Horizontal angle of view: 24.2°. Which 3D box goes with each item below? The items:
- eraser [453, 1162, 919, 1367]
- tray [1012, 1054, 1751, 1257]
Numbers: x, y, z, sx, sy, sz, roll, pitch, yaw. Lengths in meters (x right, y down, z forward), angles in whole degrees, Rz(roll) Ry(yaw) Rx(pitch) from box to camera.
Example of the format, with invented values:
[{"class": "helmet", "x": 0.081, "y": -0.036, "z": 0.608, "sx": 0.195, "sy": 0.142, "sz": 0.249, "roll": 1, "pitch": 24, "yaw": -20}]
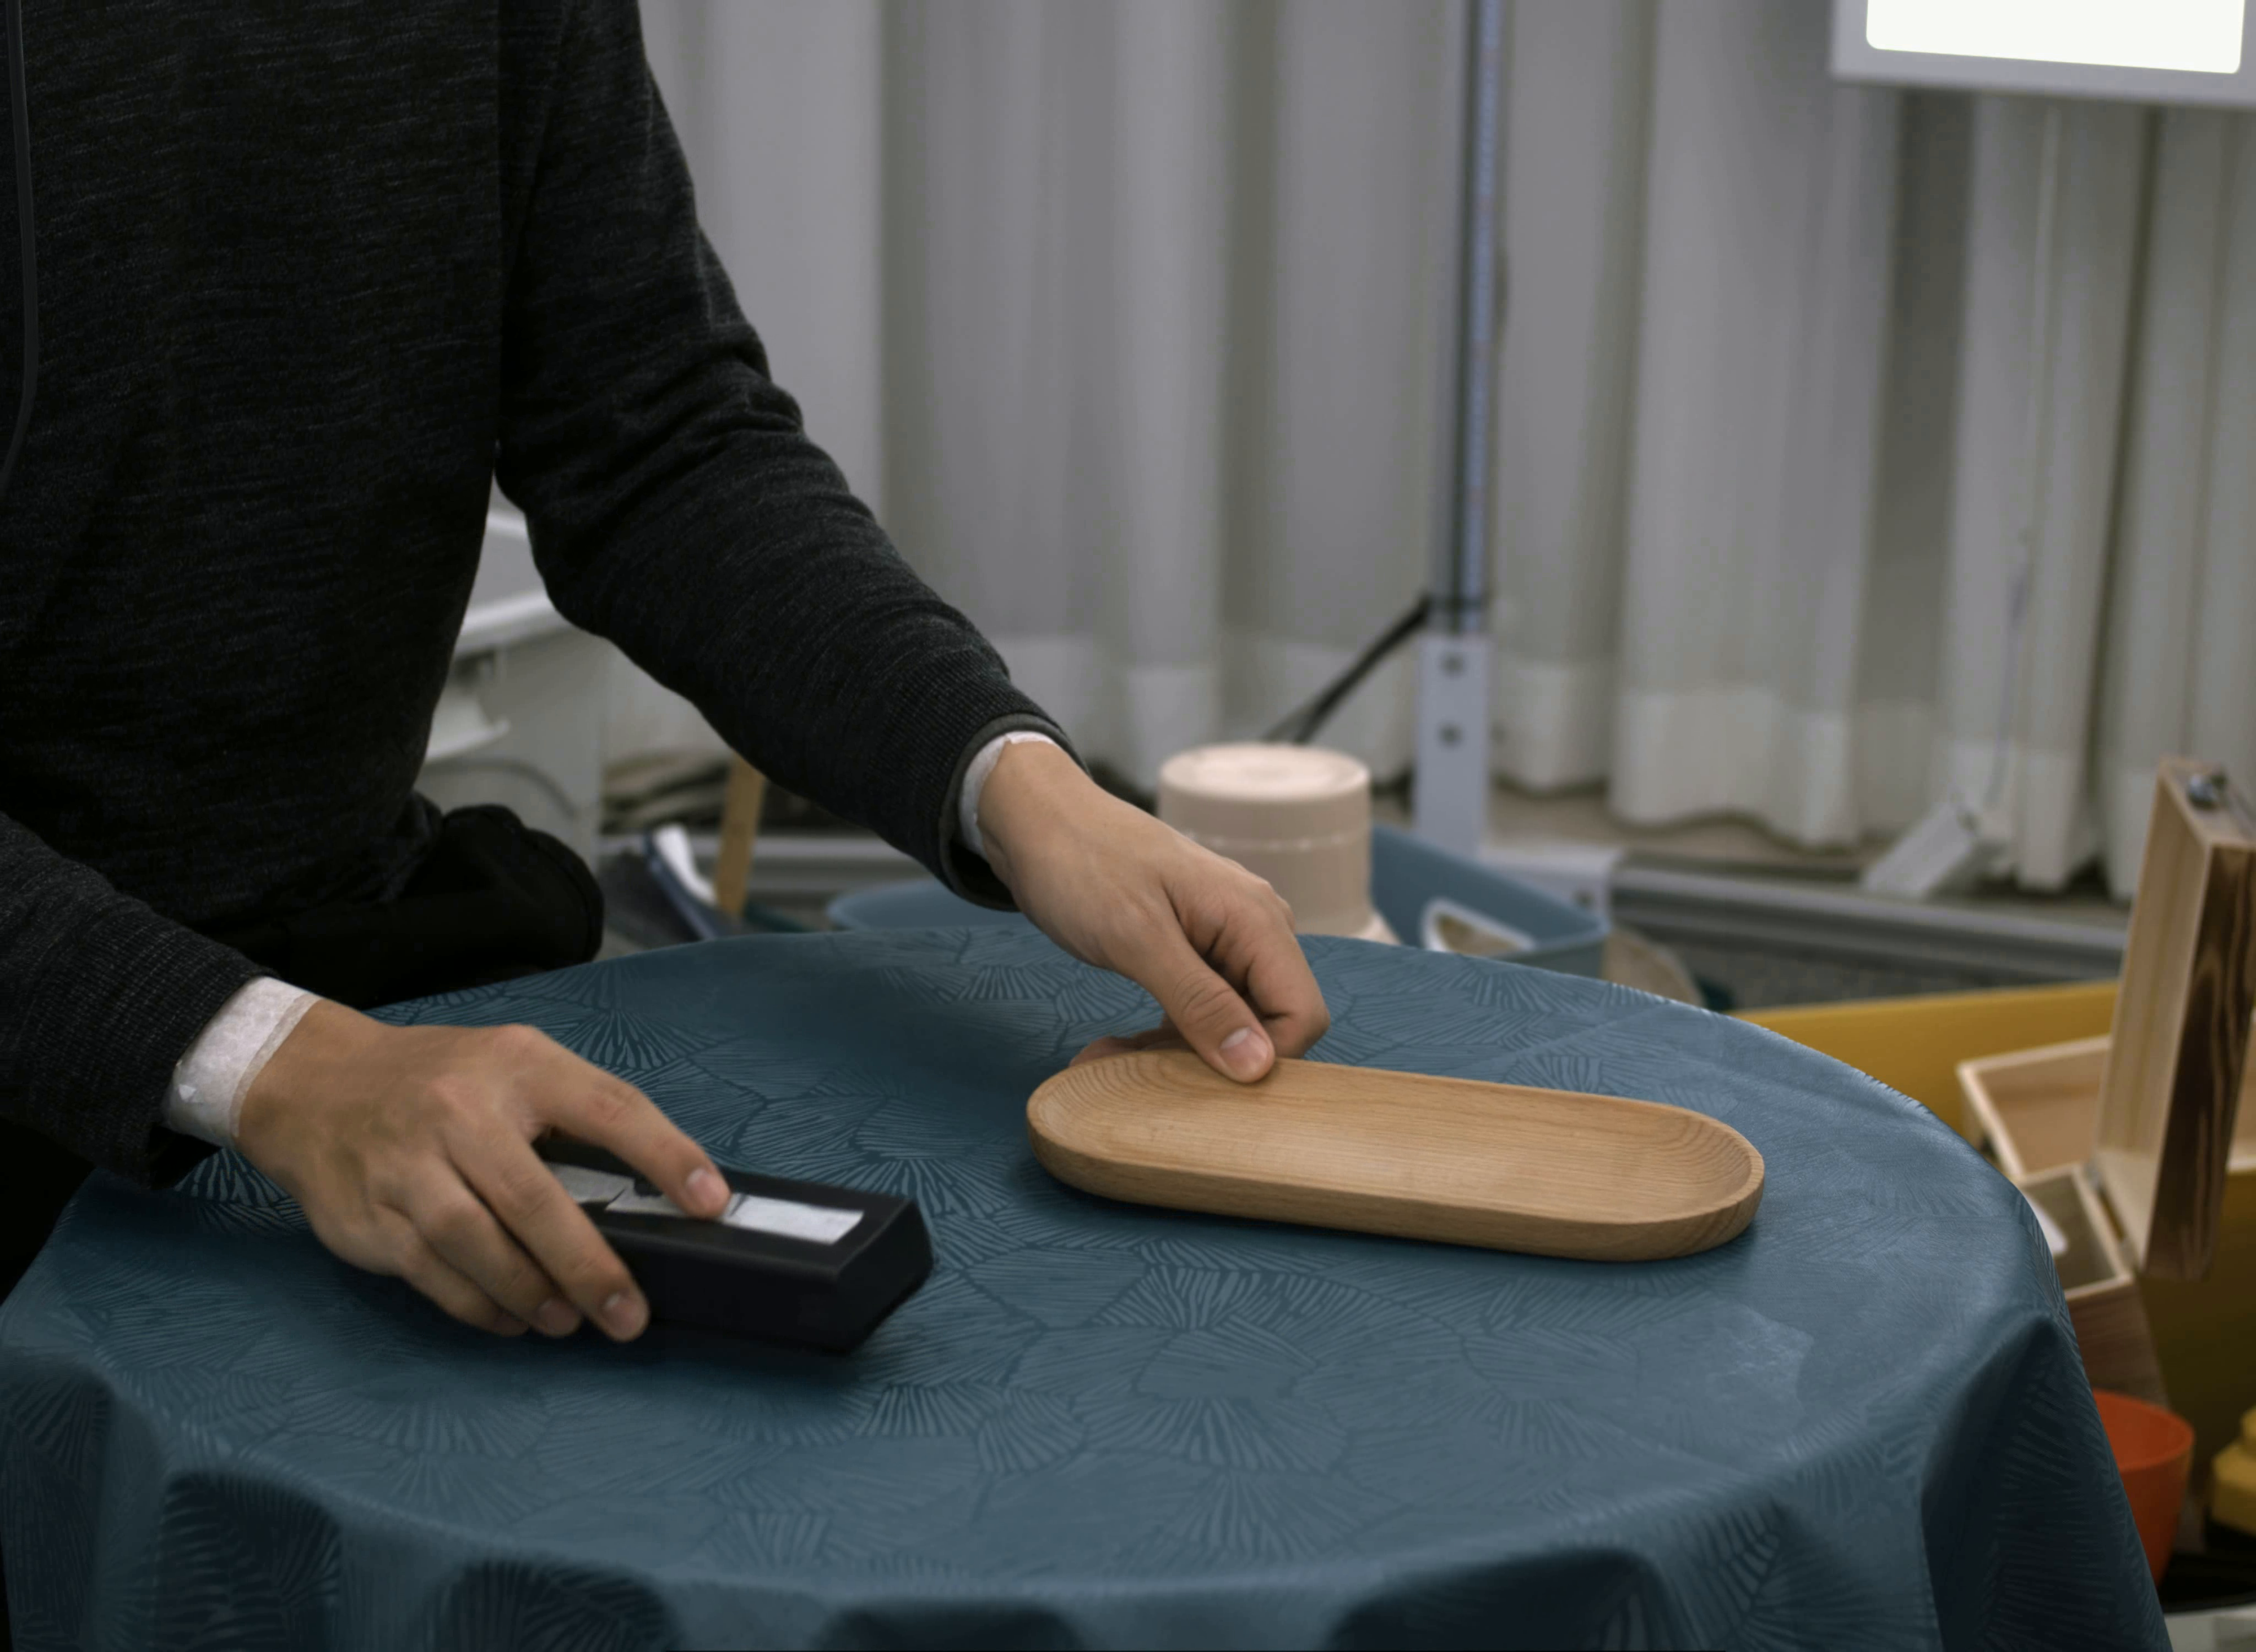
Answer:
[{"class": "eraser", "x": -0.124, "y": 0.123, "z": 1.487, "sx": 0.124, "sy": 0.031, "sz": 0.053, "roll": 6, "pitch": 23, "yaw": 24}, {"class": "tray", "x": 0.077, "y": 0.101, "z": 1.621, "sx": 0.229, "sy": 0.020, "sz": 0.101, "roll": 4, "pitch": 17, "yaw": 14}]
